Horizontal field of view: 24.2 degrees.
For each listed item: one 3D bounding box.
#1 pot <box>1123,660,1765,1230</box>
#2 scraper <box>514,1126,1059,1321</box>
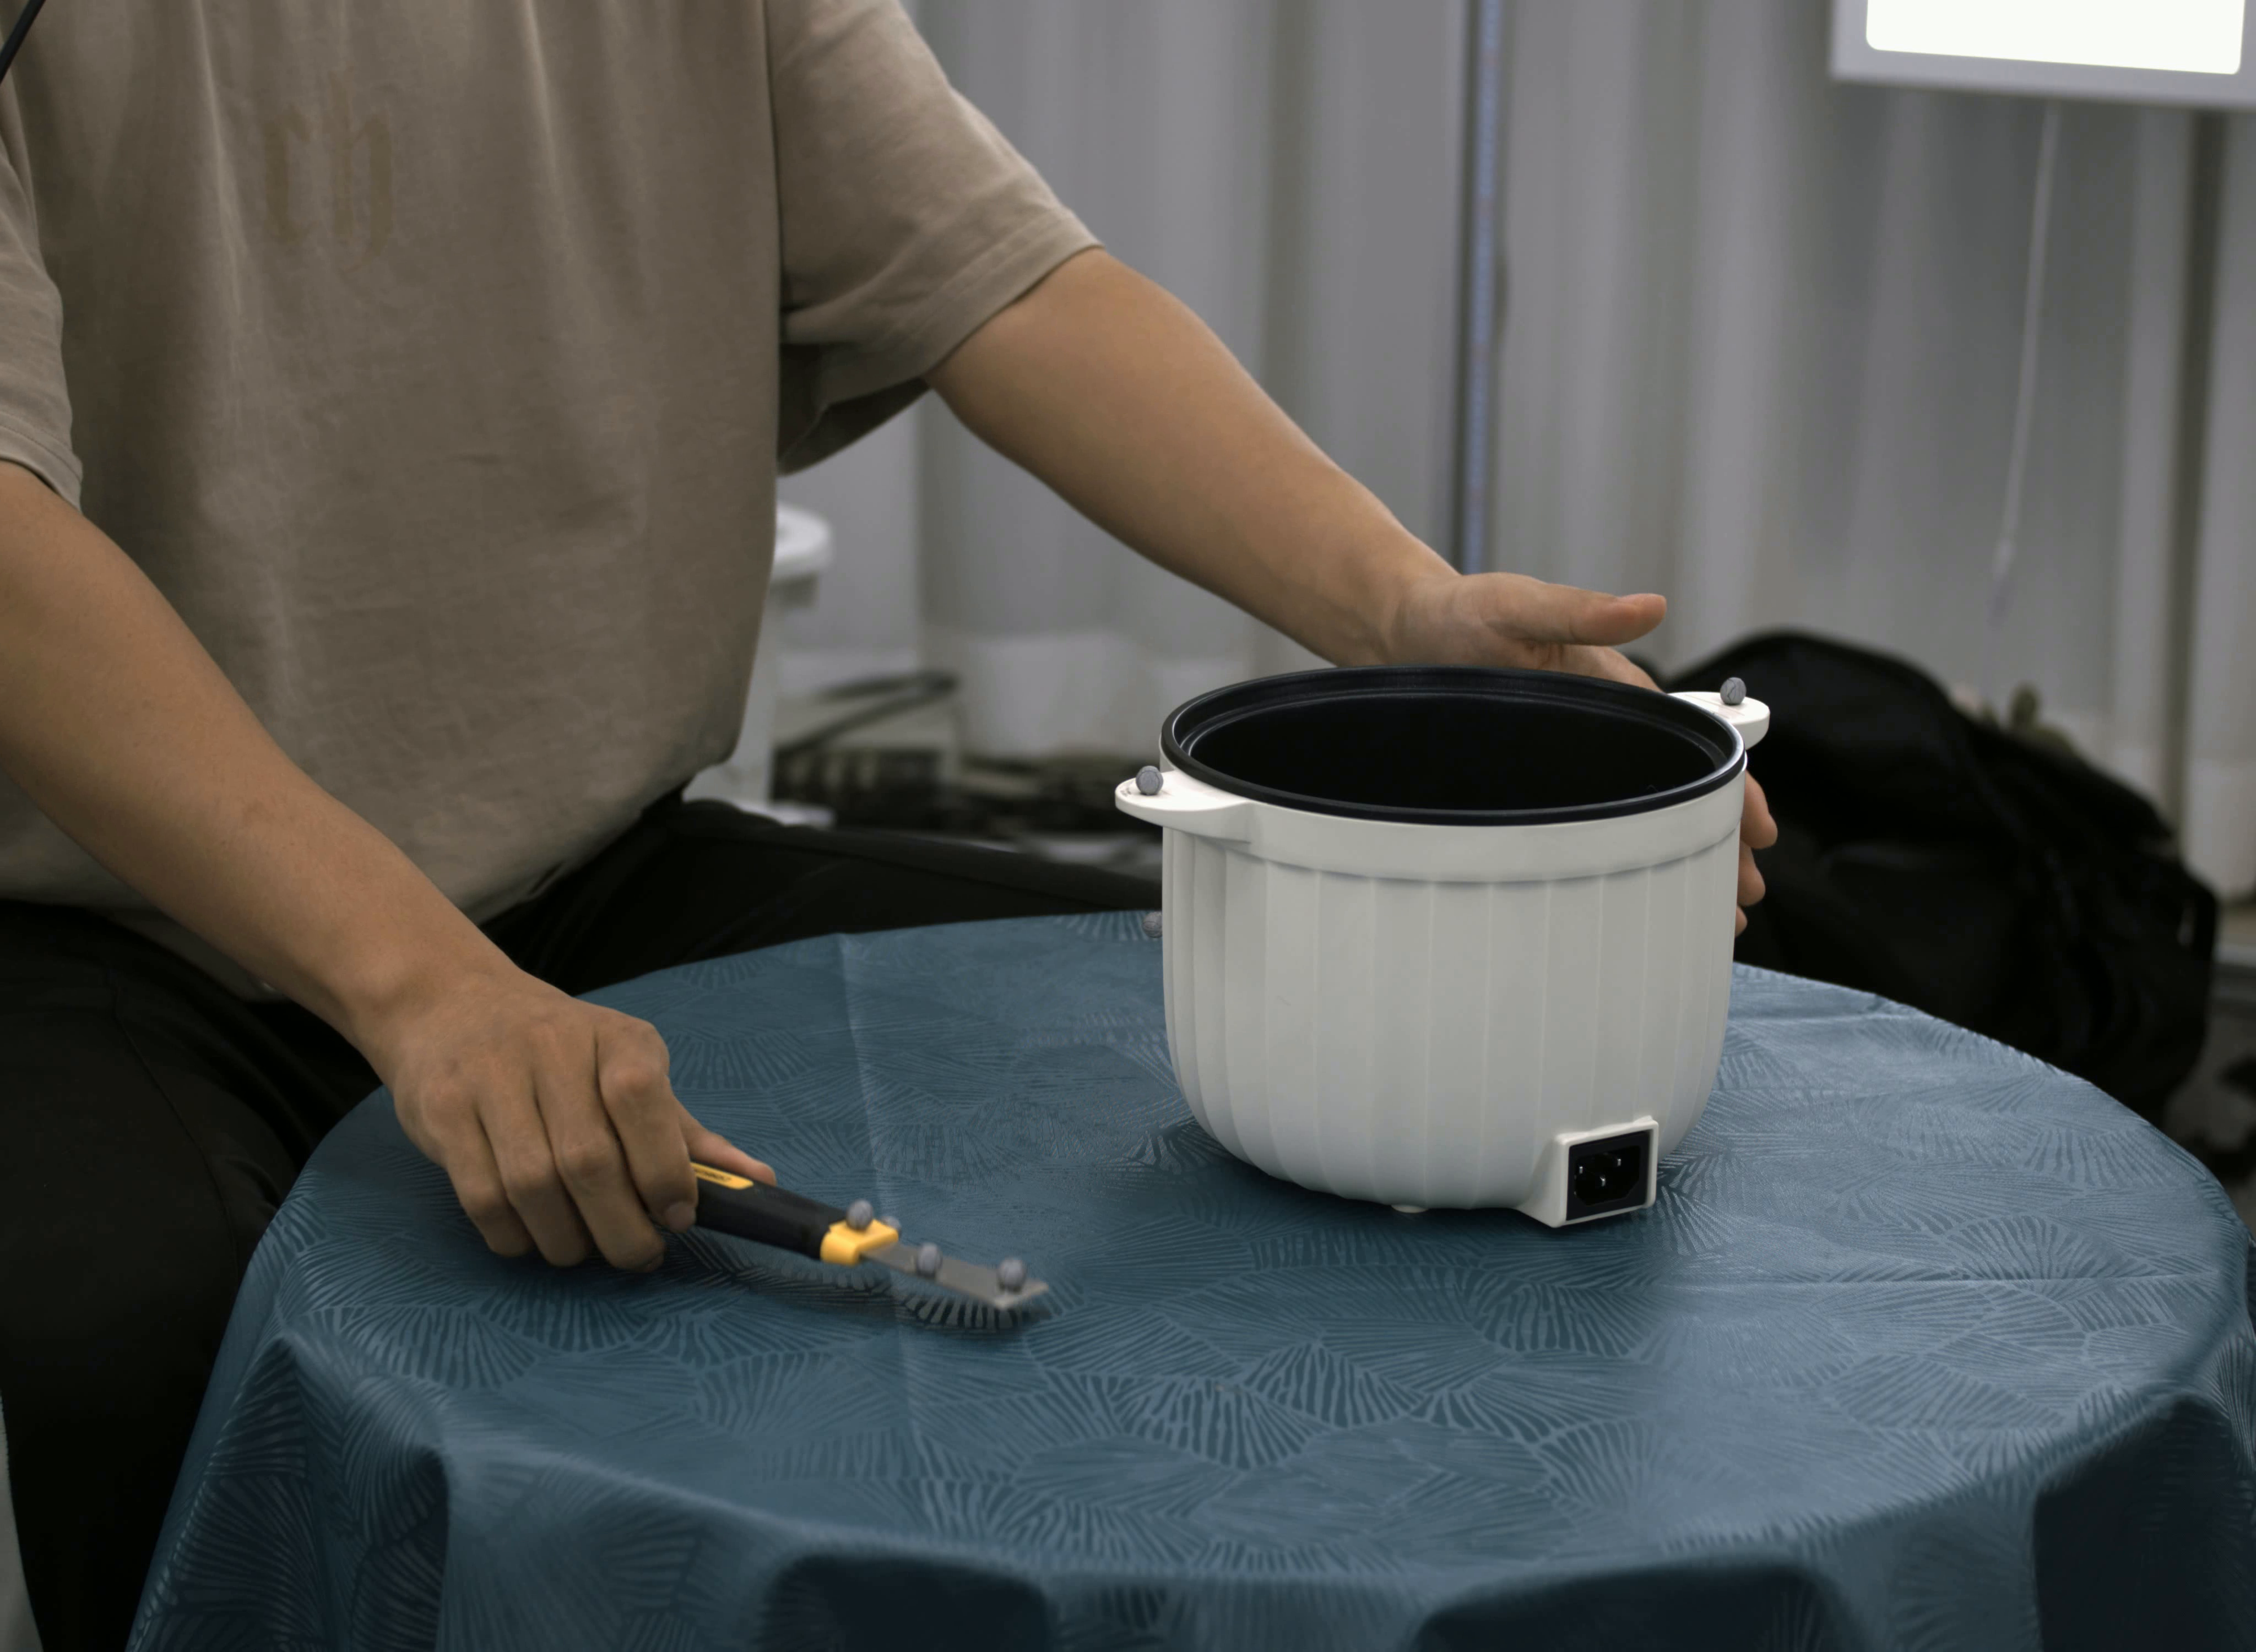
[{"bbox_3d":[0.096,0.035,1.652,0.241,0.144,0.188,-8,22,-33],"label":"pot"},{"bbox_3d":[-0.103,0.116,1.534,0.169,0.015,0.039,16,16,19],"label":"scraper"}]
